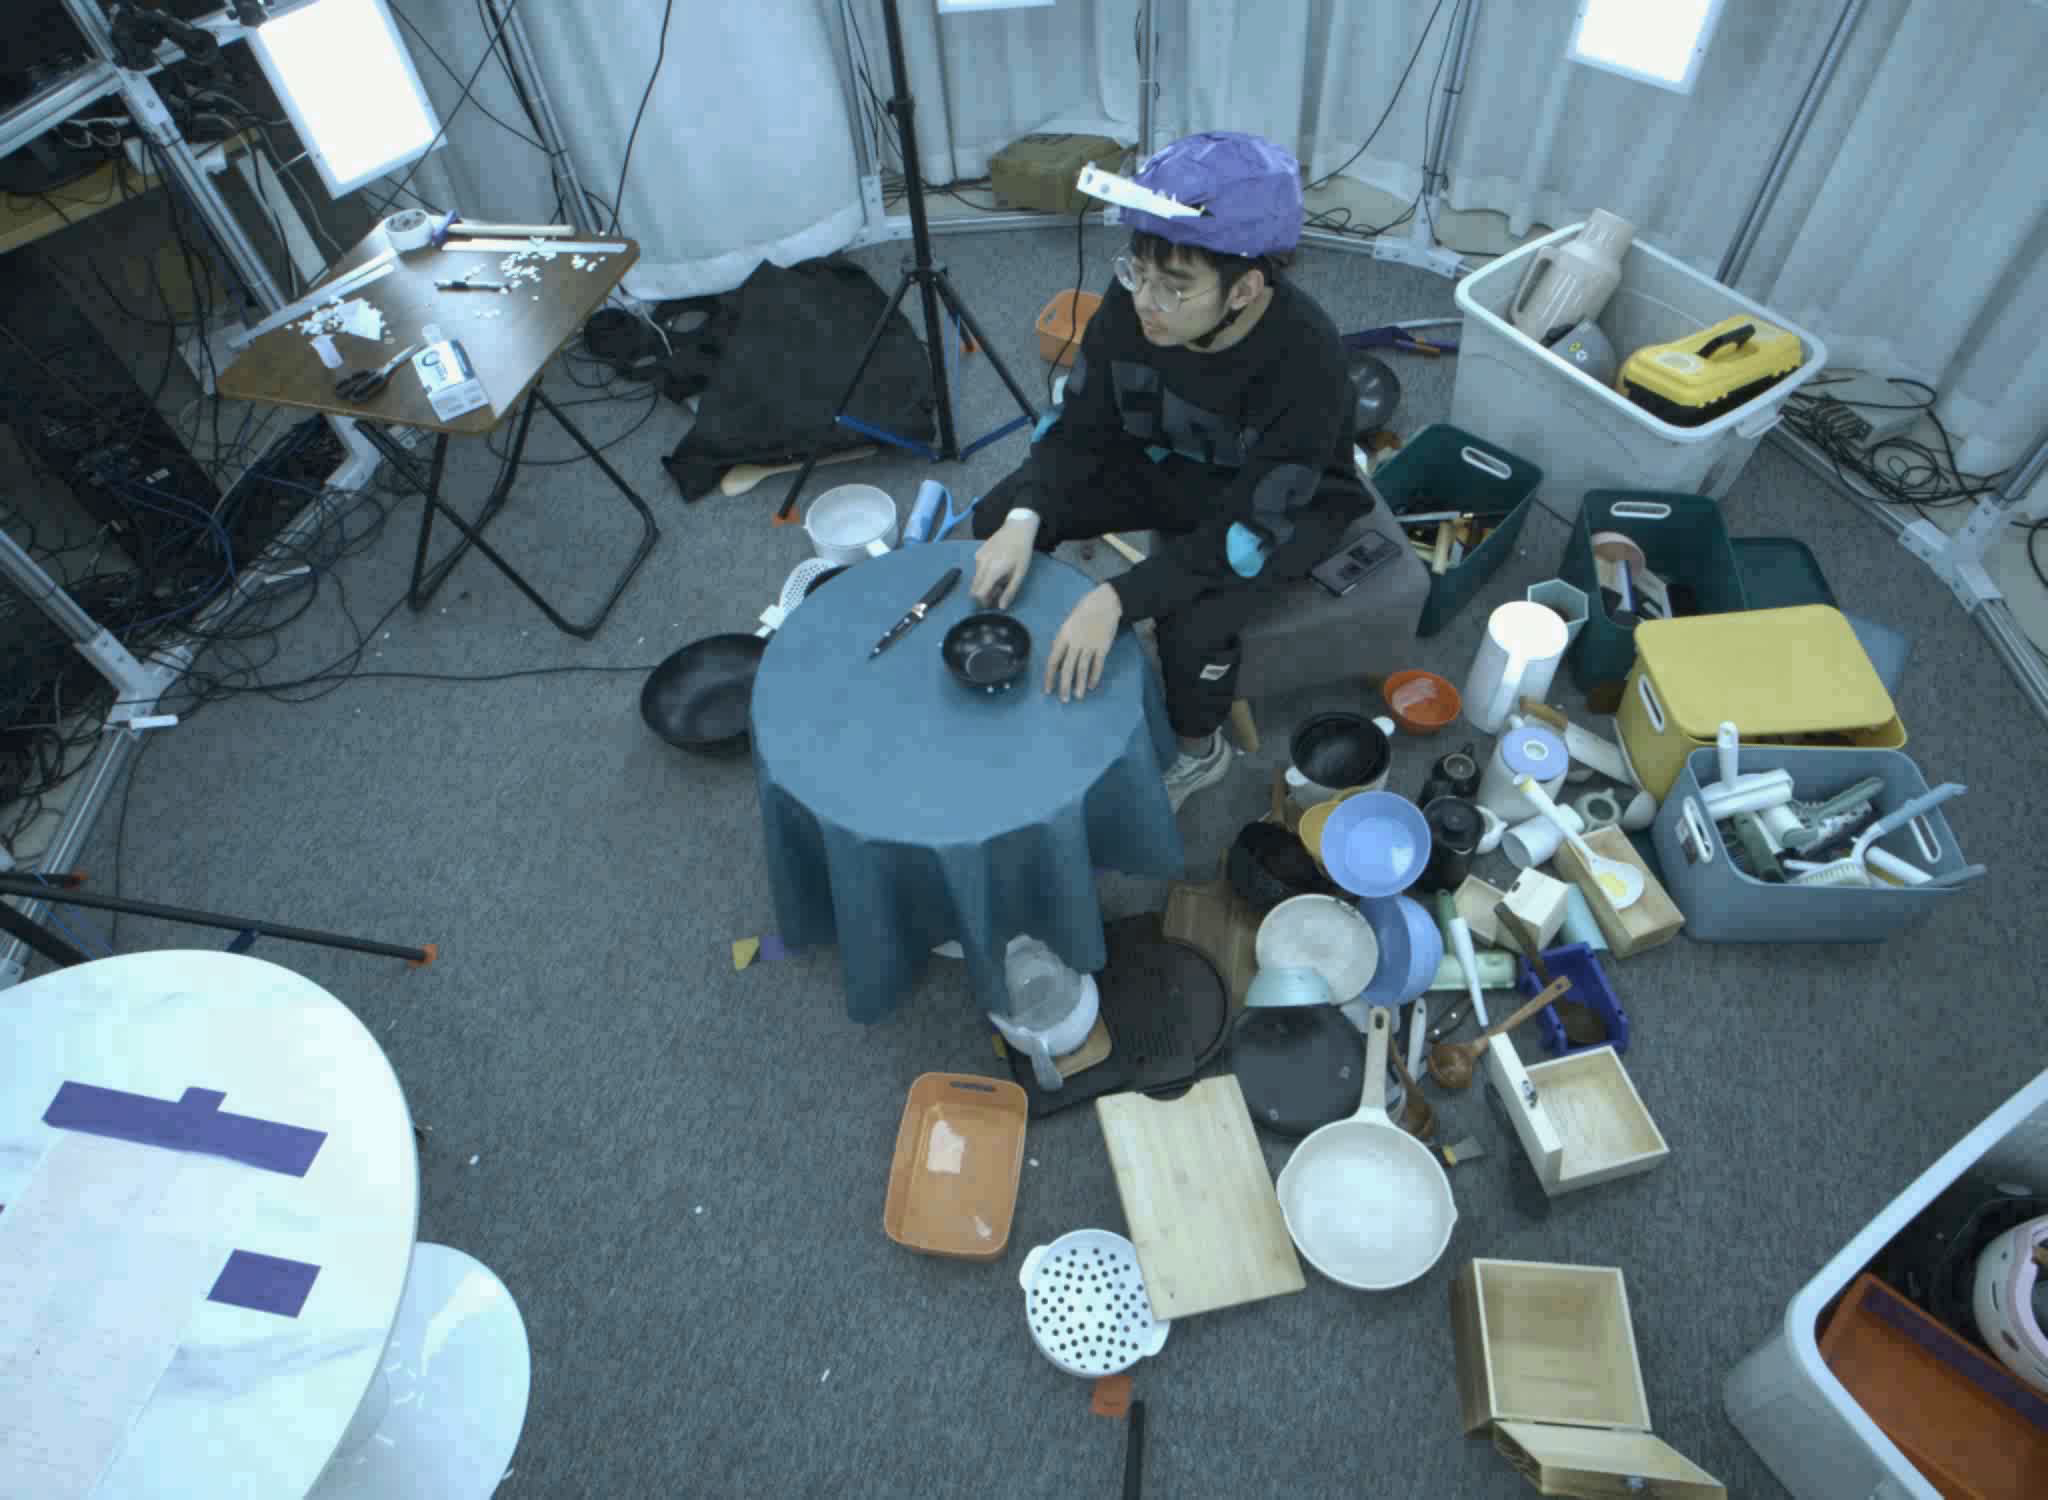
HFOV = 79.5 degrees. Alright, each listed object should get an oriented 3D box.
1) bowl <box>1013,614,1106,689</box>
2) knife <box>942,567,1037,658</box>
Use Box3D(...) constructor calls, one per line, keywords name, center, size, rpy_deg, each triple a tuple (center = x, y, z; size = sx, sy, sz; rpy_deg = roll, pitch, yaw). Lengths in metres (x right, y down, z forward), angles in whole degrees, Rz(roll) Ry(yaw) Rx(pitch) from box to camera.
Box3D(name="bowl", center=(0.054, -0.140, 1.857), size=(0.140, 0.050, 0.138), rpy_deg=(0, 51, 1))
Box3D(name="knife", center=(-0.056, -0.218, 1.937), size=(0.026, 0.017, 0.227), rpy_deg=(36, 64, 22))
